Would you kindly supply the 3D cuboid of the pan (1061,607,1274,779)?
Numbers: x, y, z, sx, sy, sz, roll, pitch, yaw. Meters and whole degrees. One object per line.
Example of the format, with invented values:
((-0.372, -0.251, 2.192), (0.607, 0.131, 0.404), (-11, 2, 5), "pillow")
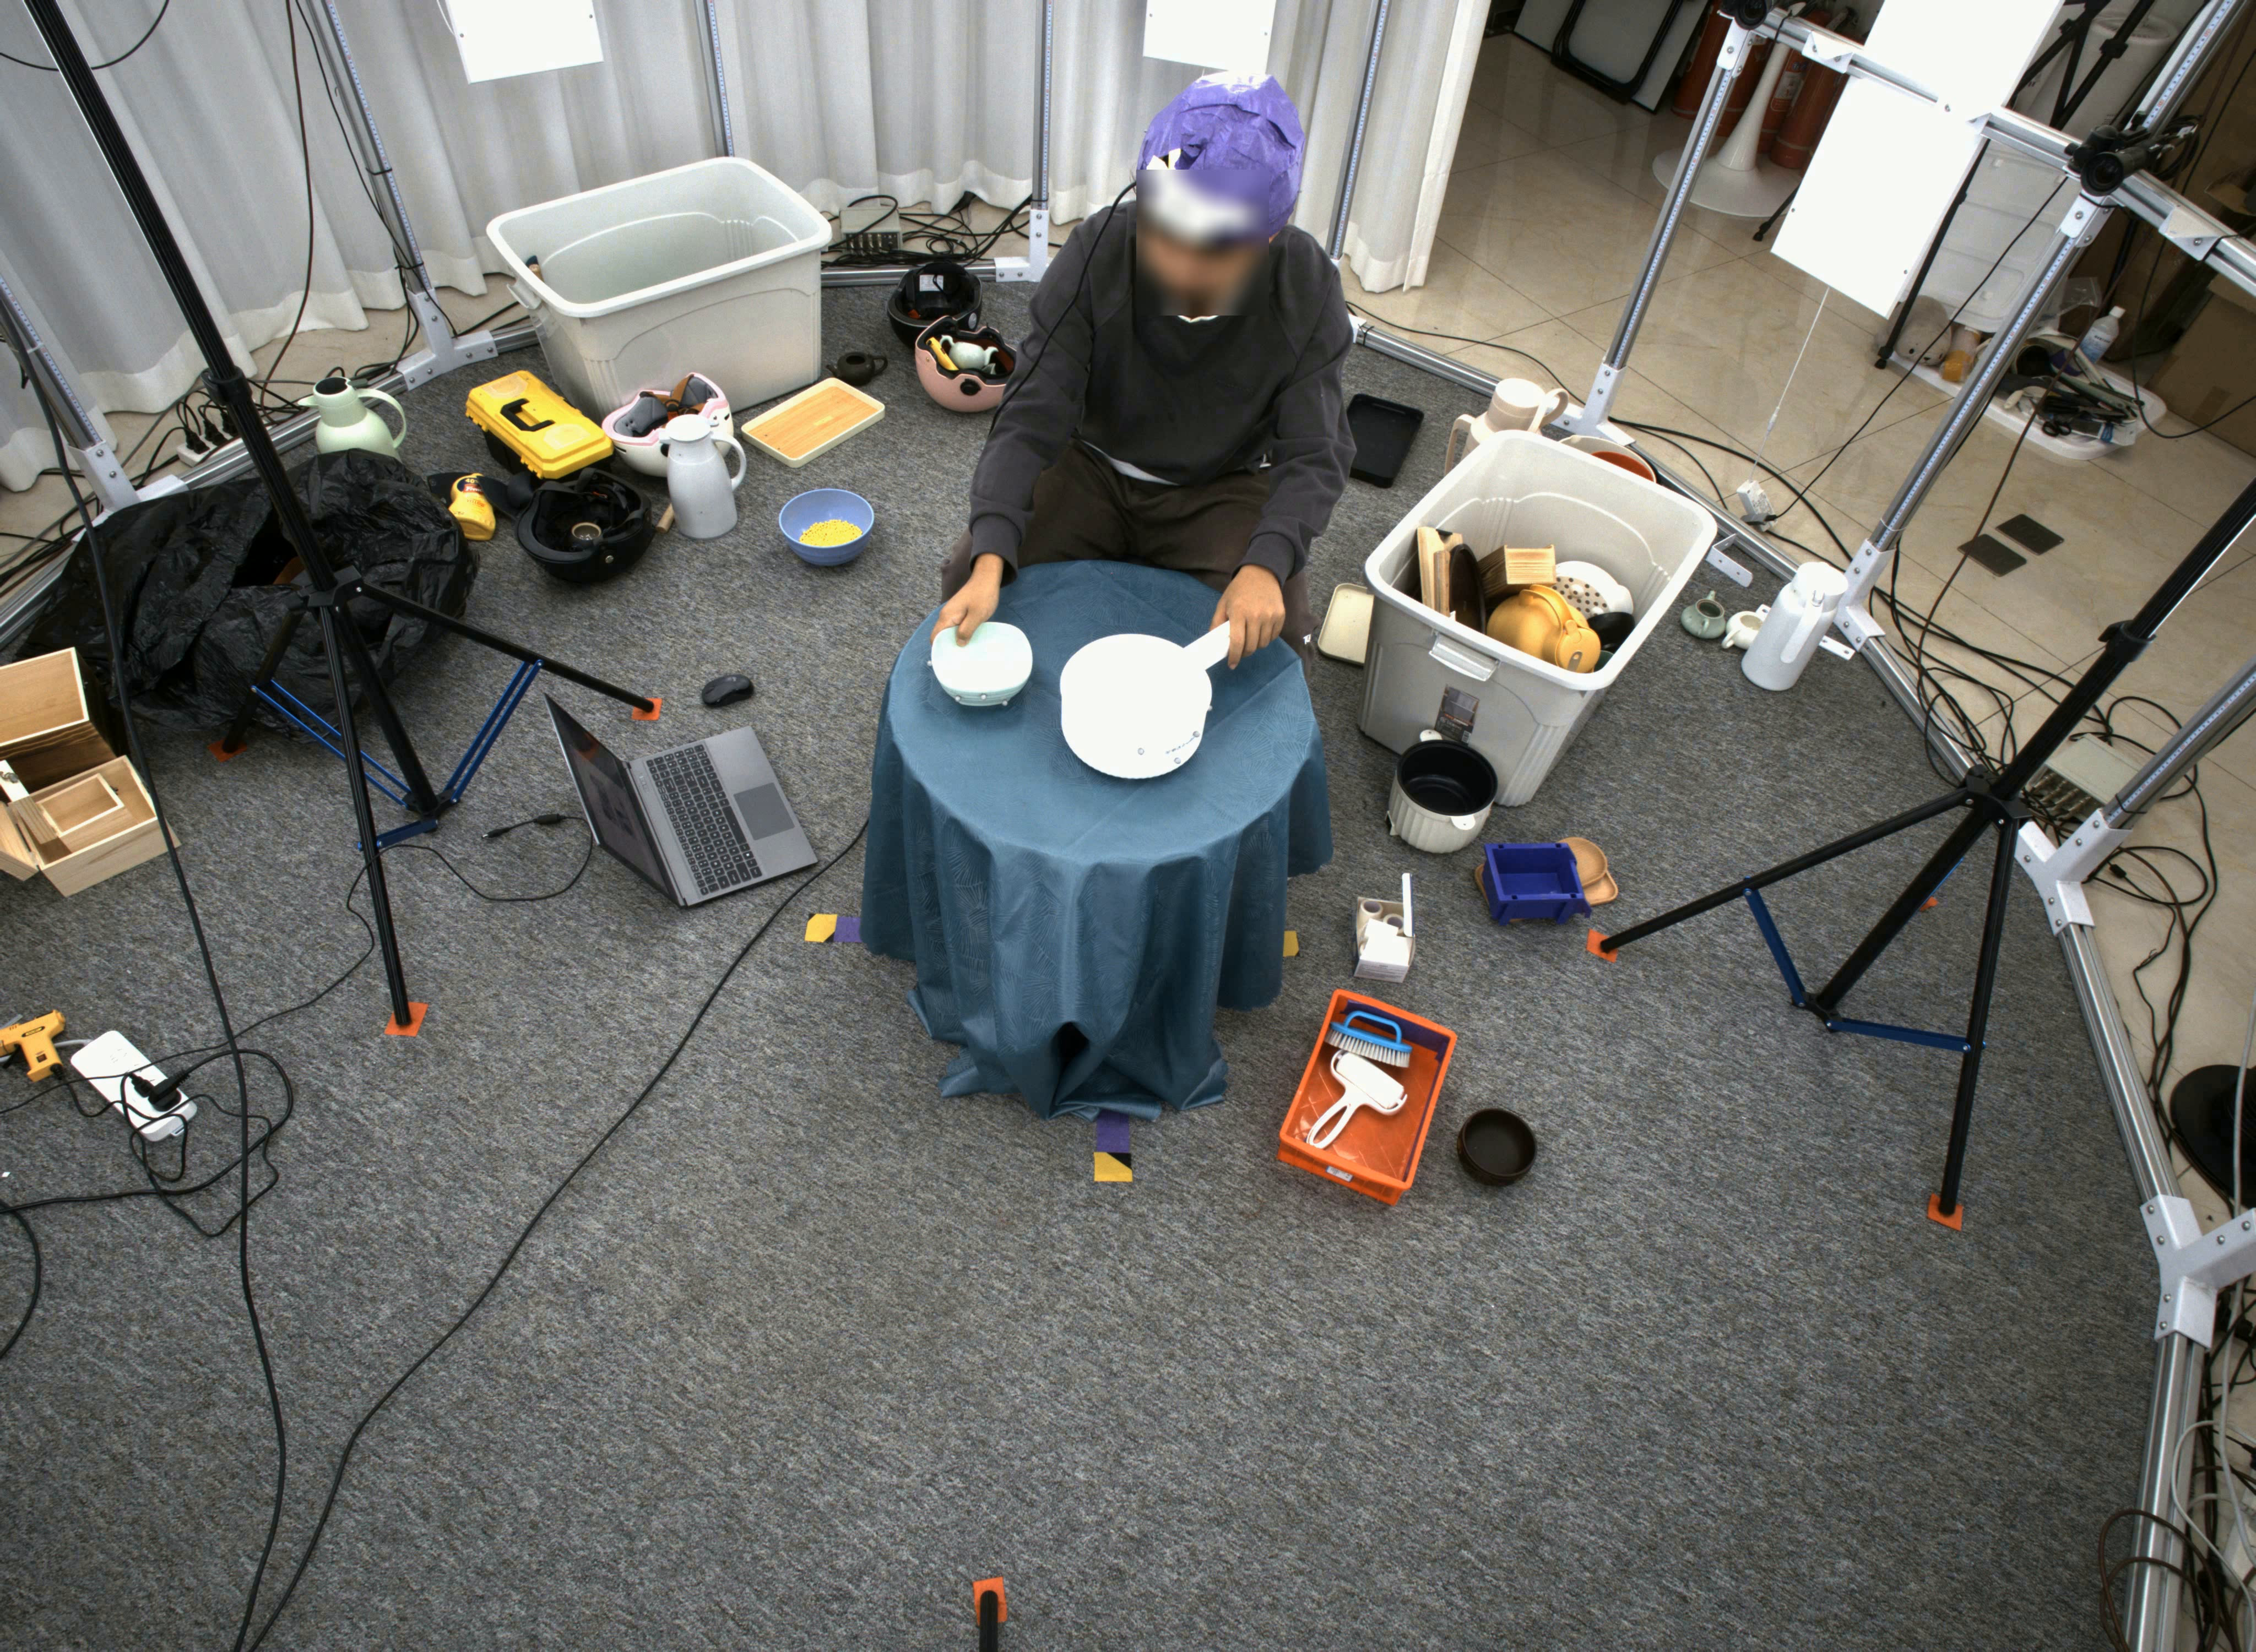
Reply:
((0.064, -0.192, 1.778), (0.358, 0.099, 0.204), (-33, 57, -30), "pan")

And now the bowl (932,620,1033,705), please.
((-0.203, -0.220, 1.804), (0.151, 0.057, 0.155), (2, 51, -3), "bowl")
